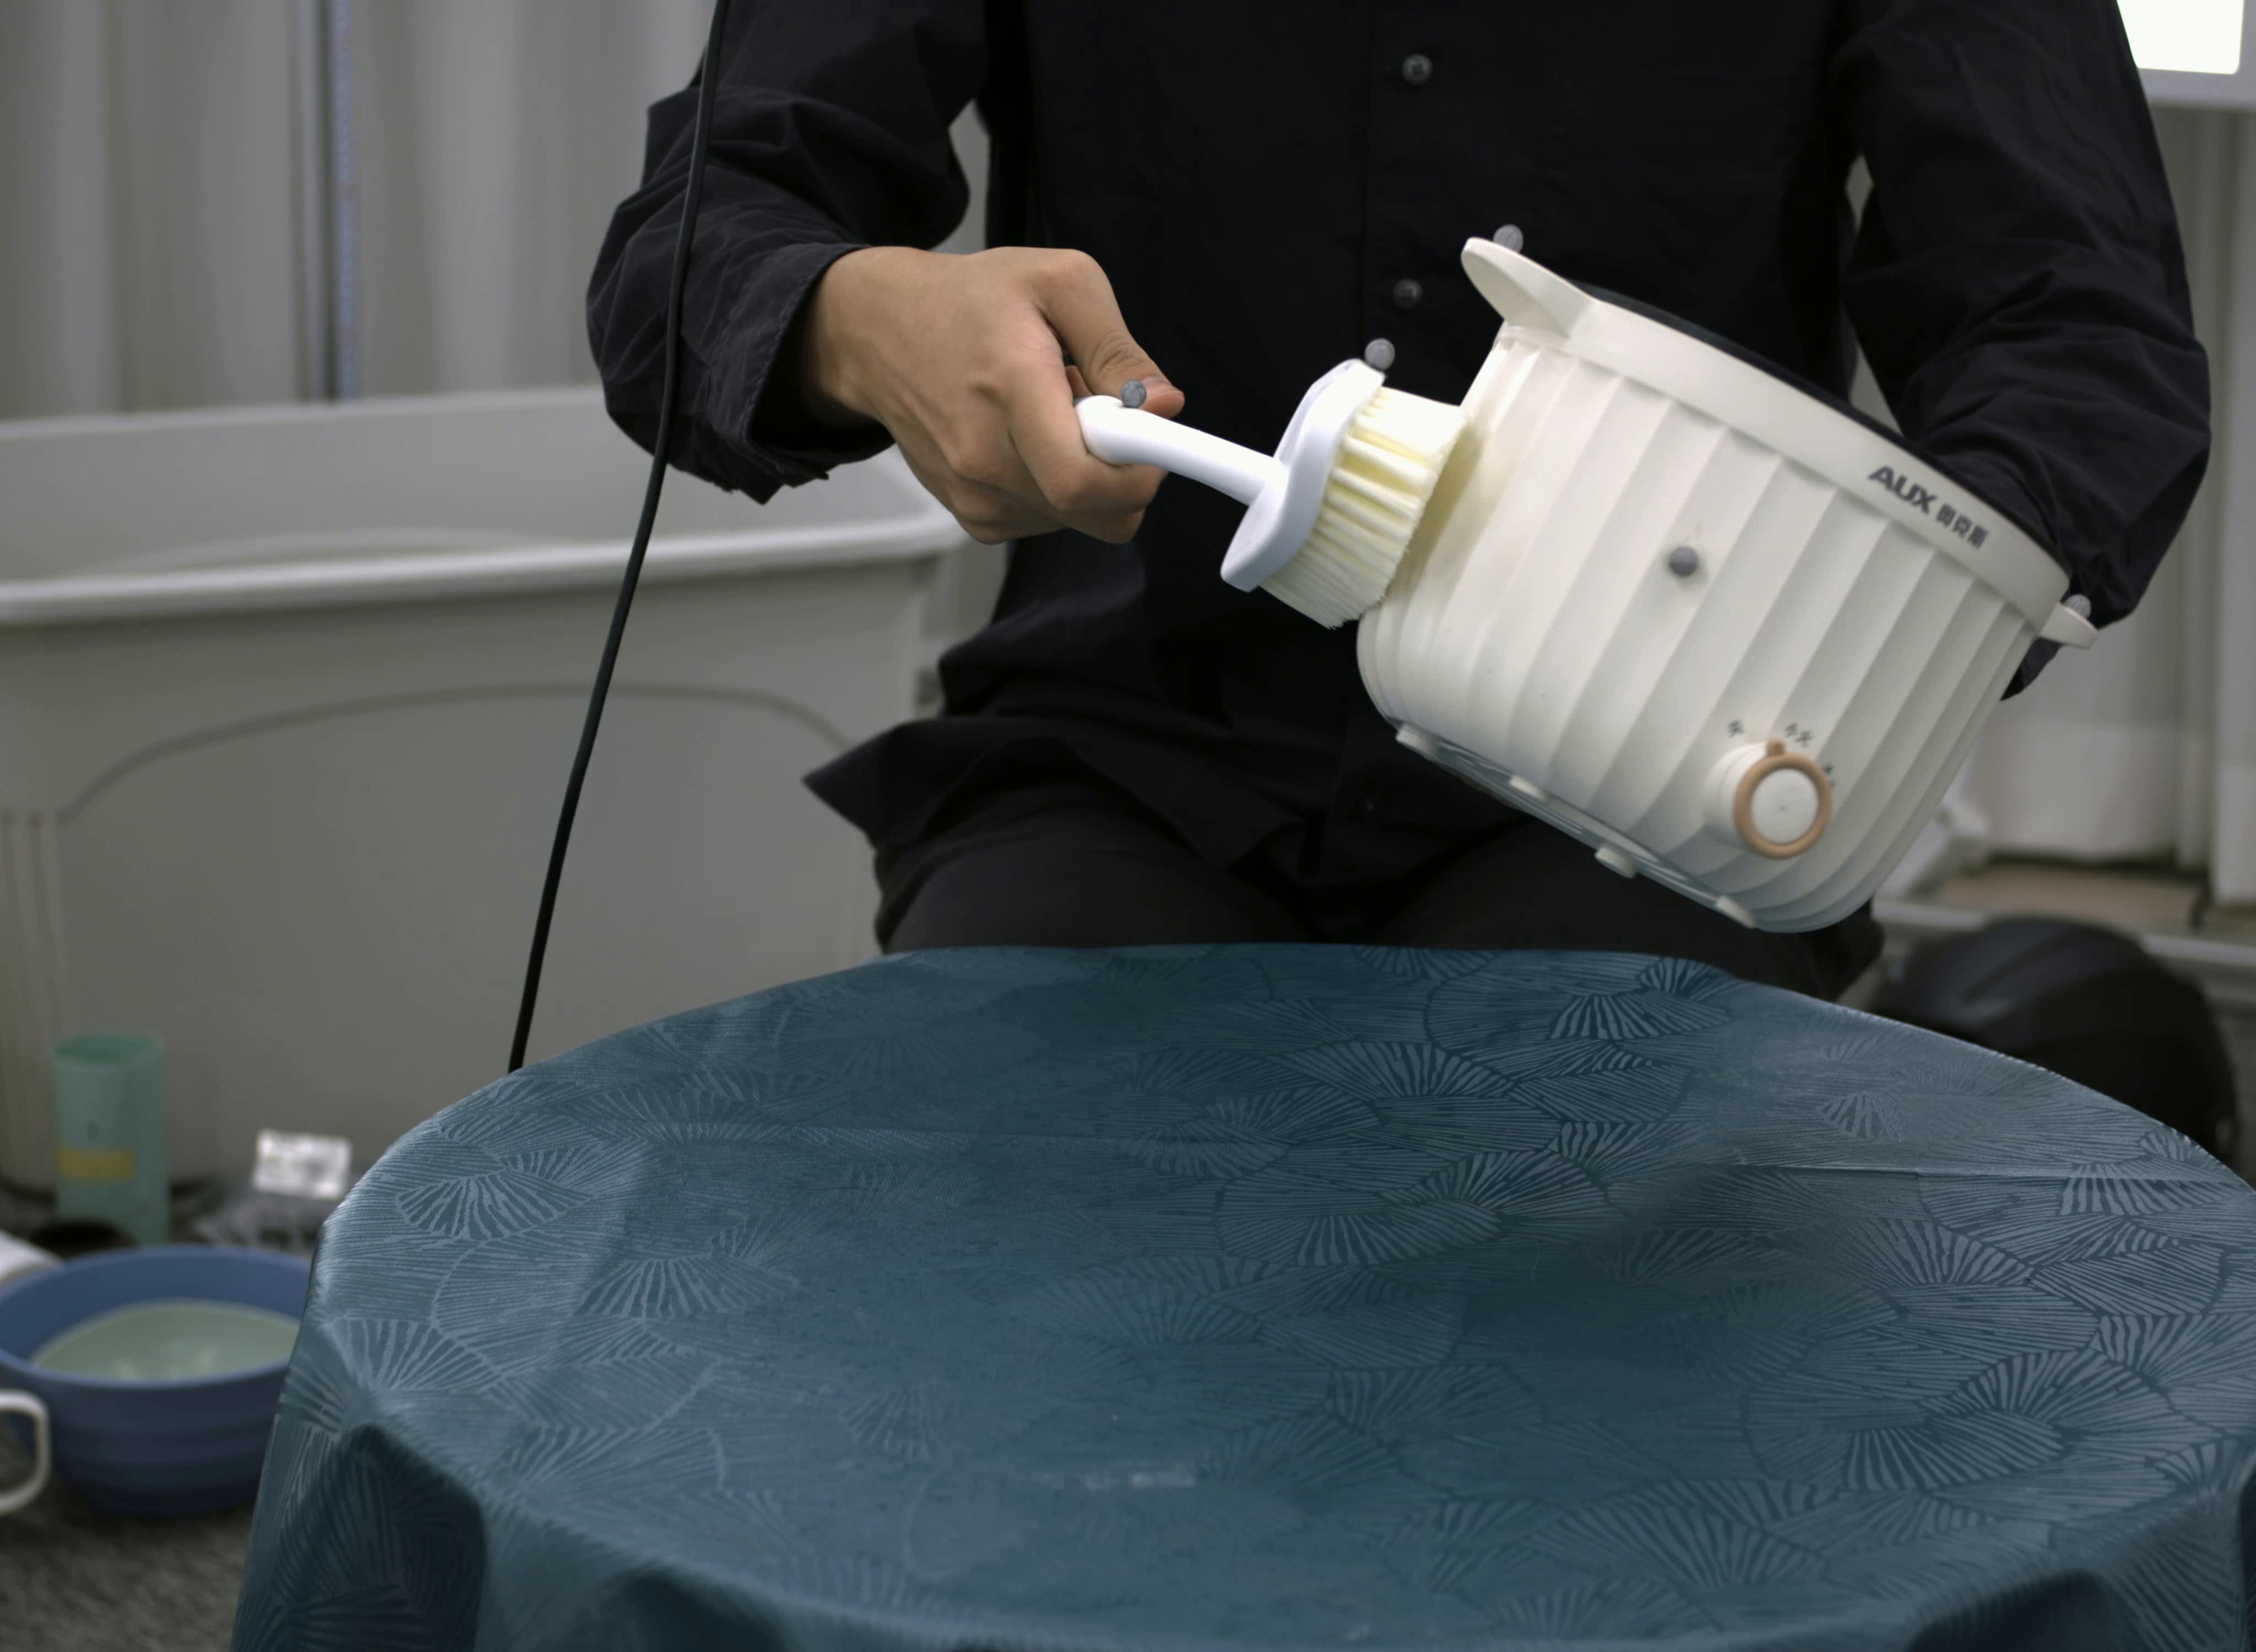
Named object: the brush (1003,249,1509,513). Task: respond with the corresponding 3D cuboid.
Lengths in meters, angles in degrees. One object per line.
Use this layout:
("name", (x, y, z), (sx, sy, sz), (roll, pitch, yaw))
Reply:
("brush", (0.051, -0.140, 1.654), (0.083, 0.085, 0.323), (-29, 11, -16))

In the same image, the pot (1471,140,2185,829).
("pot", (0.201, -0.087, 1.562), (0.242, 0.143, 0.188), (29, -4, -26))
